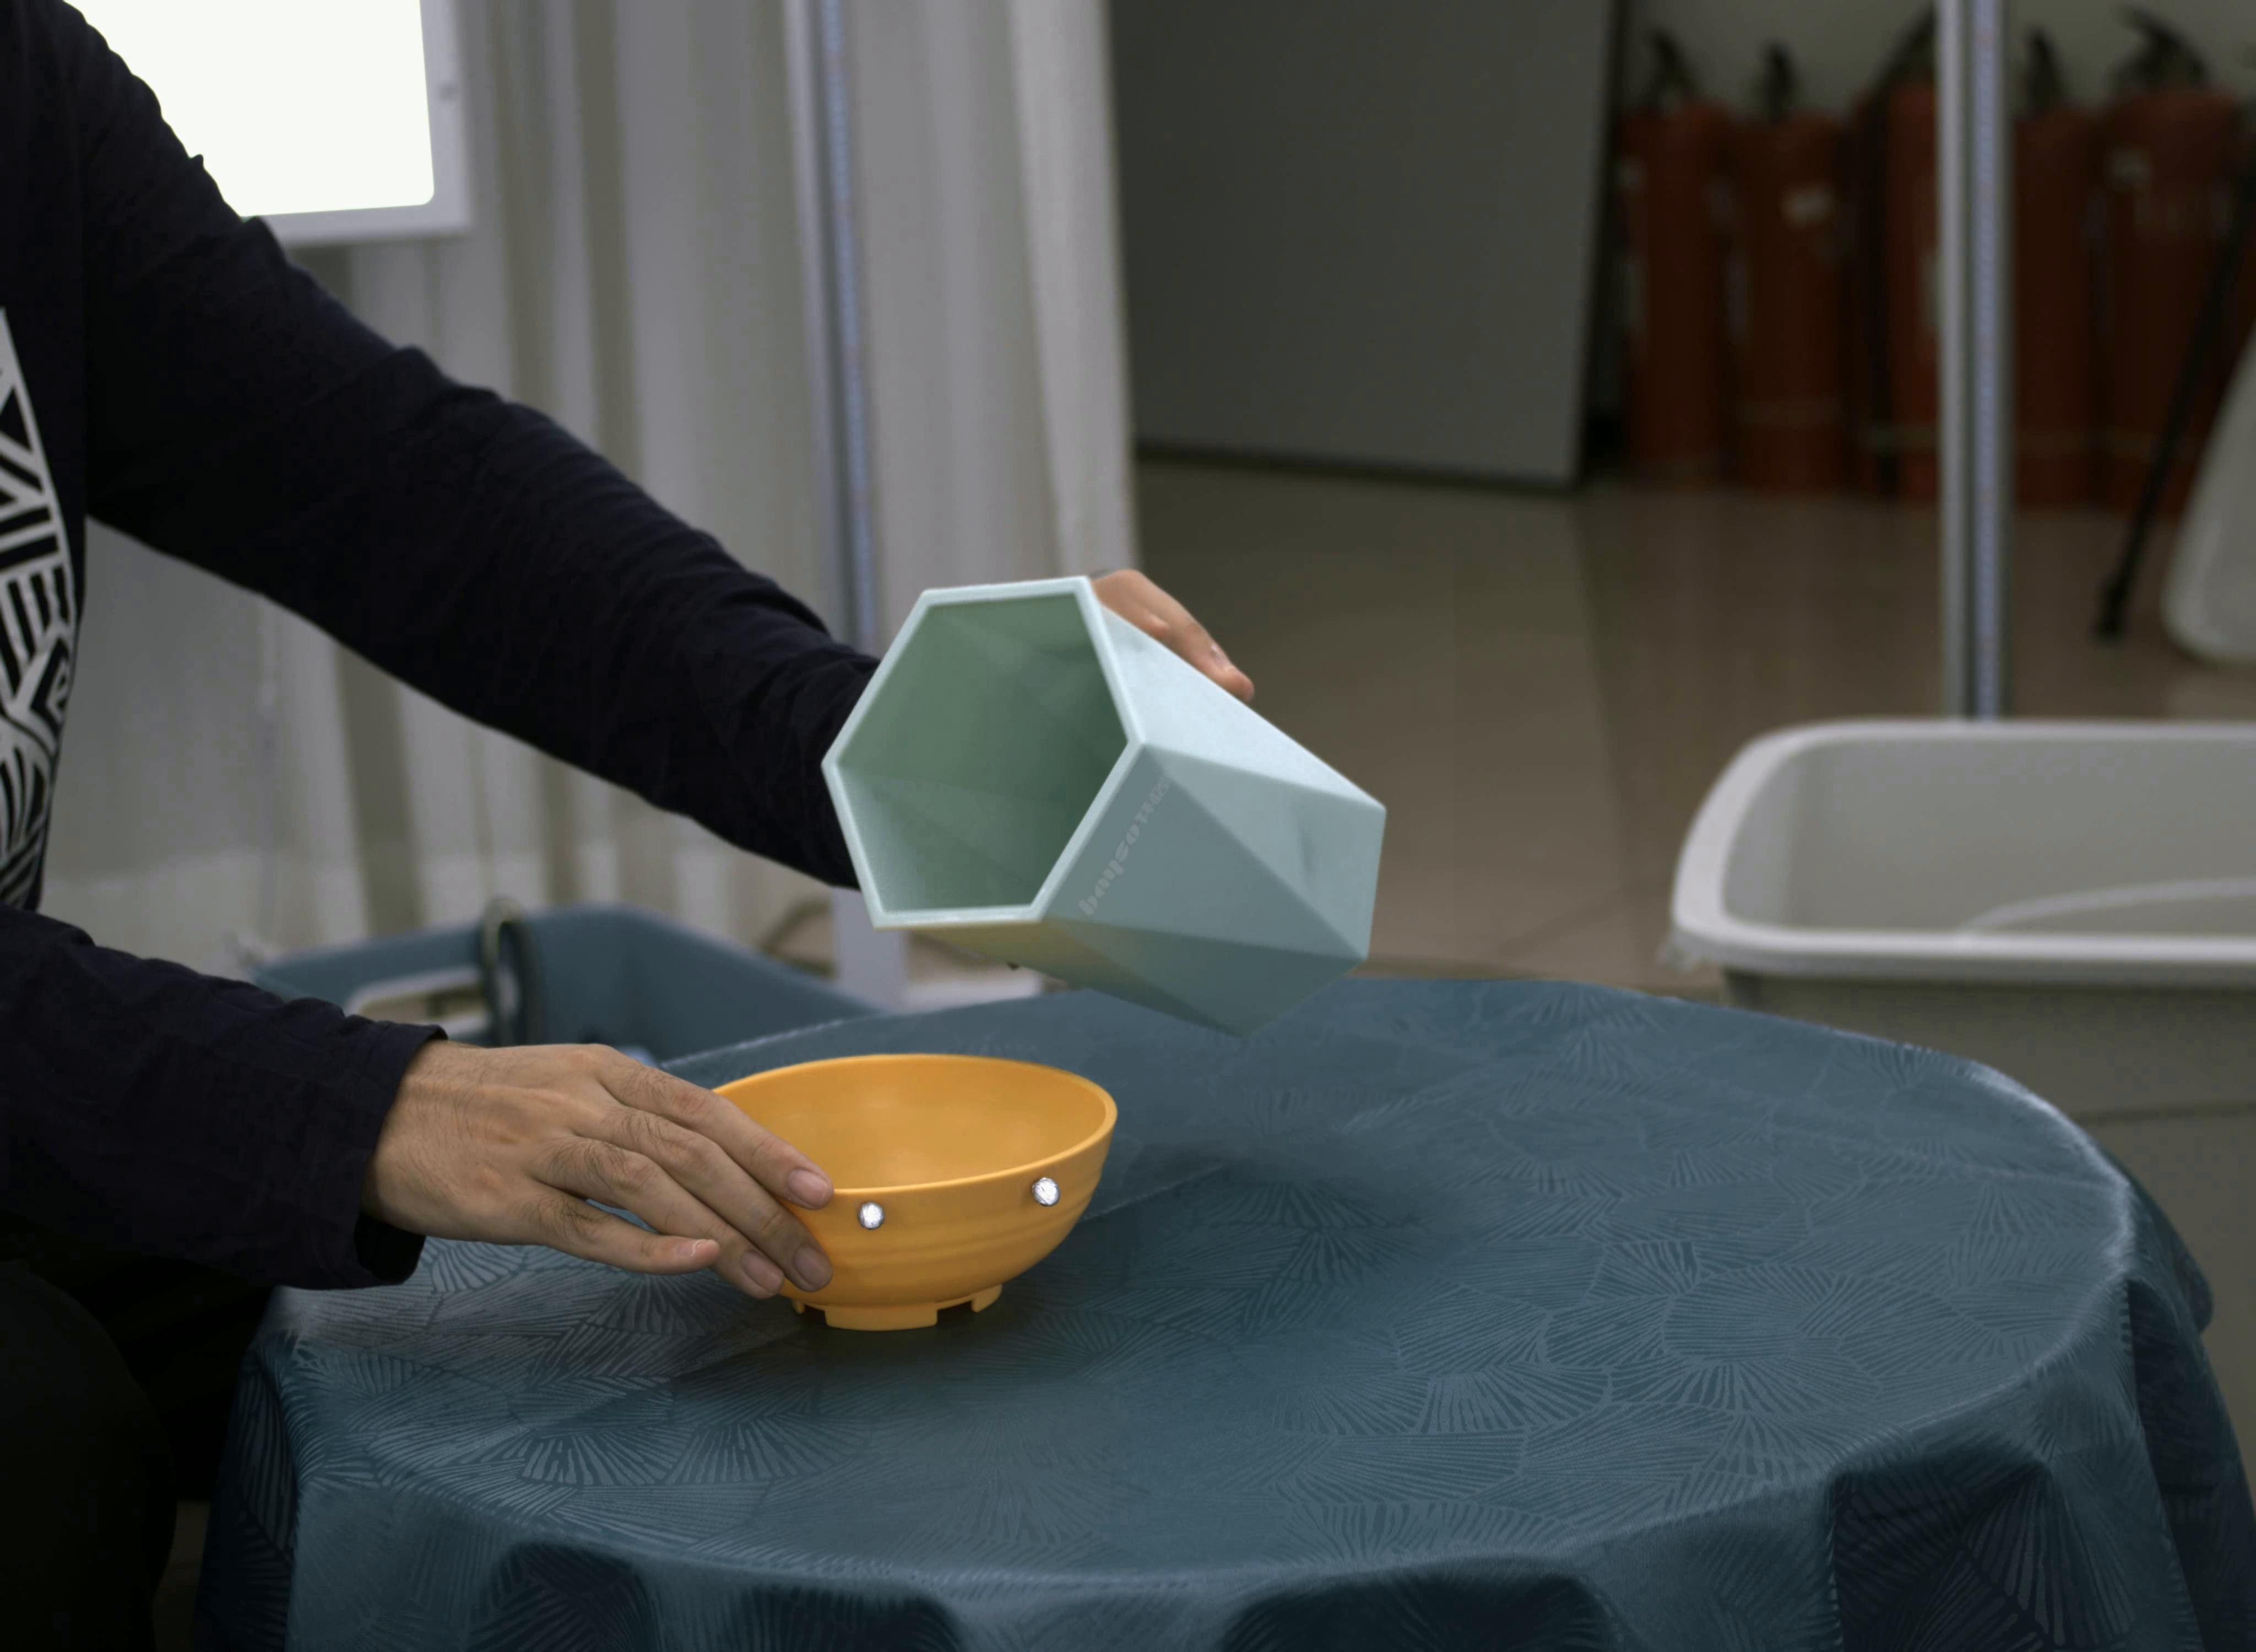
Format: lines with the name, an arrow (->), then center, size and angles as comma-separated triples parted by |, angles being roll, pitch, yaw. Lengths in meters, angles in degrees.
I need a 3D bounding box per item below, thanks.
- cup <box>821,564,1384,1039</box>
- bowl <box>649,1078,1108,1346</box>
cup -> 0.000, -0.002, 1.756 | 0.160, 0.132, 0.116 | 24, 6, -46
bowl -> -0.075, 0.124, 1.679 | 0.143, 0.061, 0.145 | -5, 11, 0
